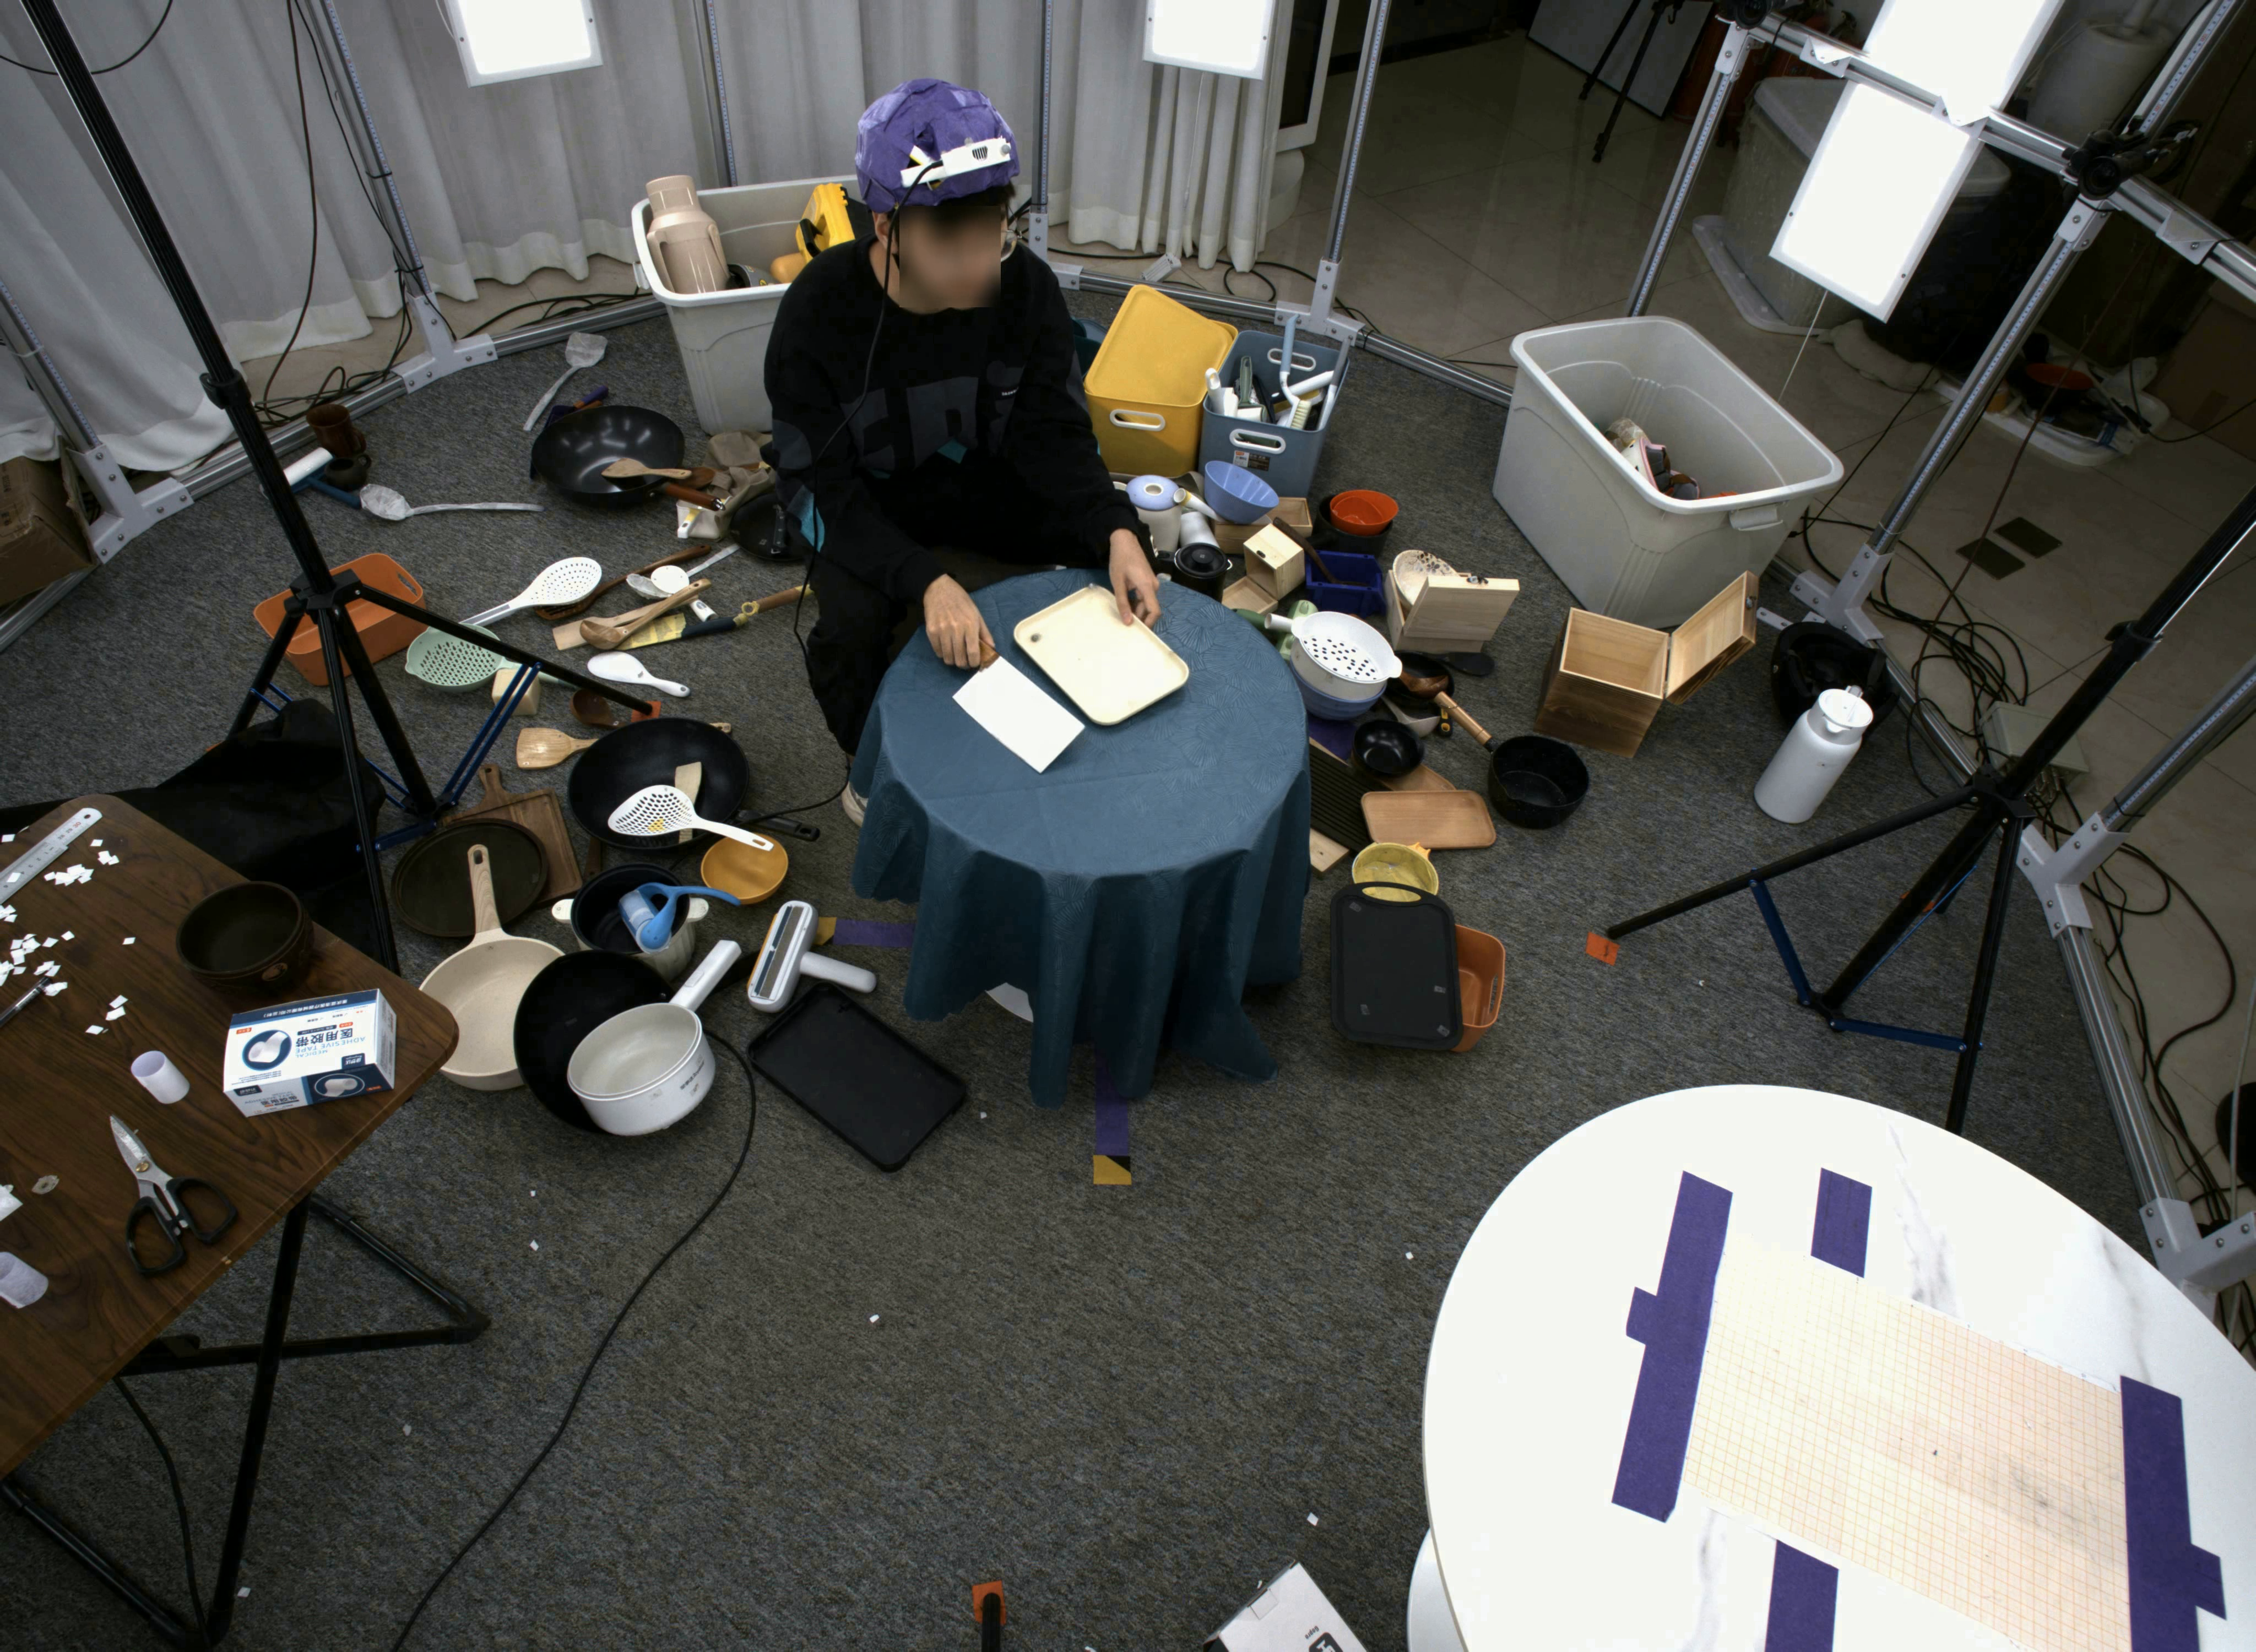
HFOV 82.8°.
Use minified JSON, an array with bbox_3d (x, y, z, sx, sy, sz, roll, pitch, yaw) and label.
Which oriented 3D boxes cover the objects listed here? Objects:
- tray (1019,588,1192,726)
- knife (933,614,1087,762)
[{"bbox_3d":[-0.034,-0.247,1.860,0.172,0.017,0.244,-30,58,-20],"label":"tray"},{"bbox_3d":[-0.185,-0.192,1.798,0.093,0.020,0.310,-45,62,-8],"label":"knife"}]
